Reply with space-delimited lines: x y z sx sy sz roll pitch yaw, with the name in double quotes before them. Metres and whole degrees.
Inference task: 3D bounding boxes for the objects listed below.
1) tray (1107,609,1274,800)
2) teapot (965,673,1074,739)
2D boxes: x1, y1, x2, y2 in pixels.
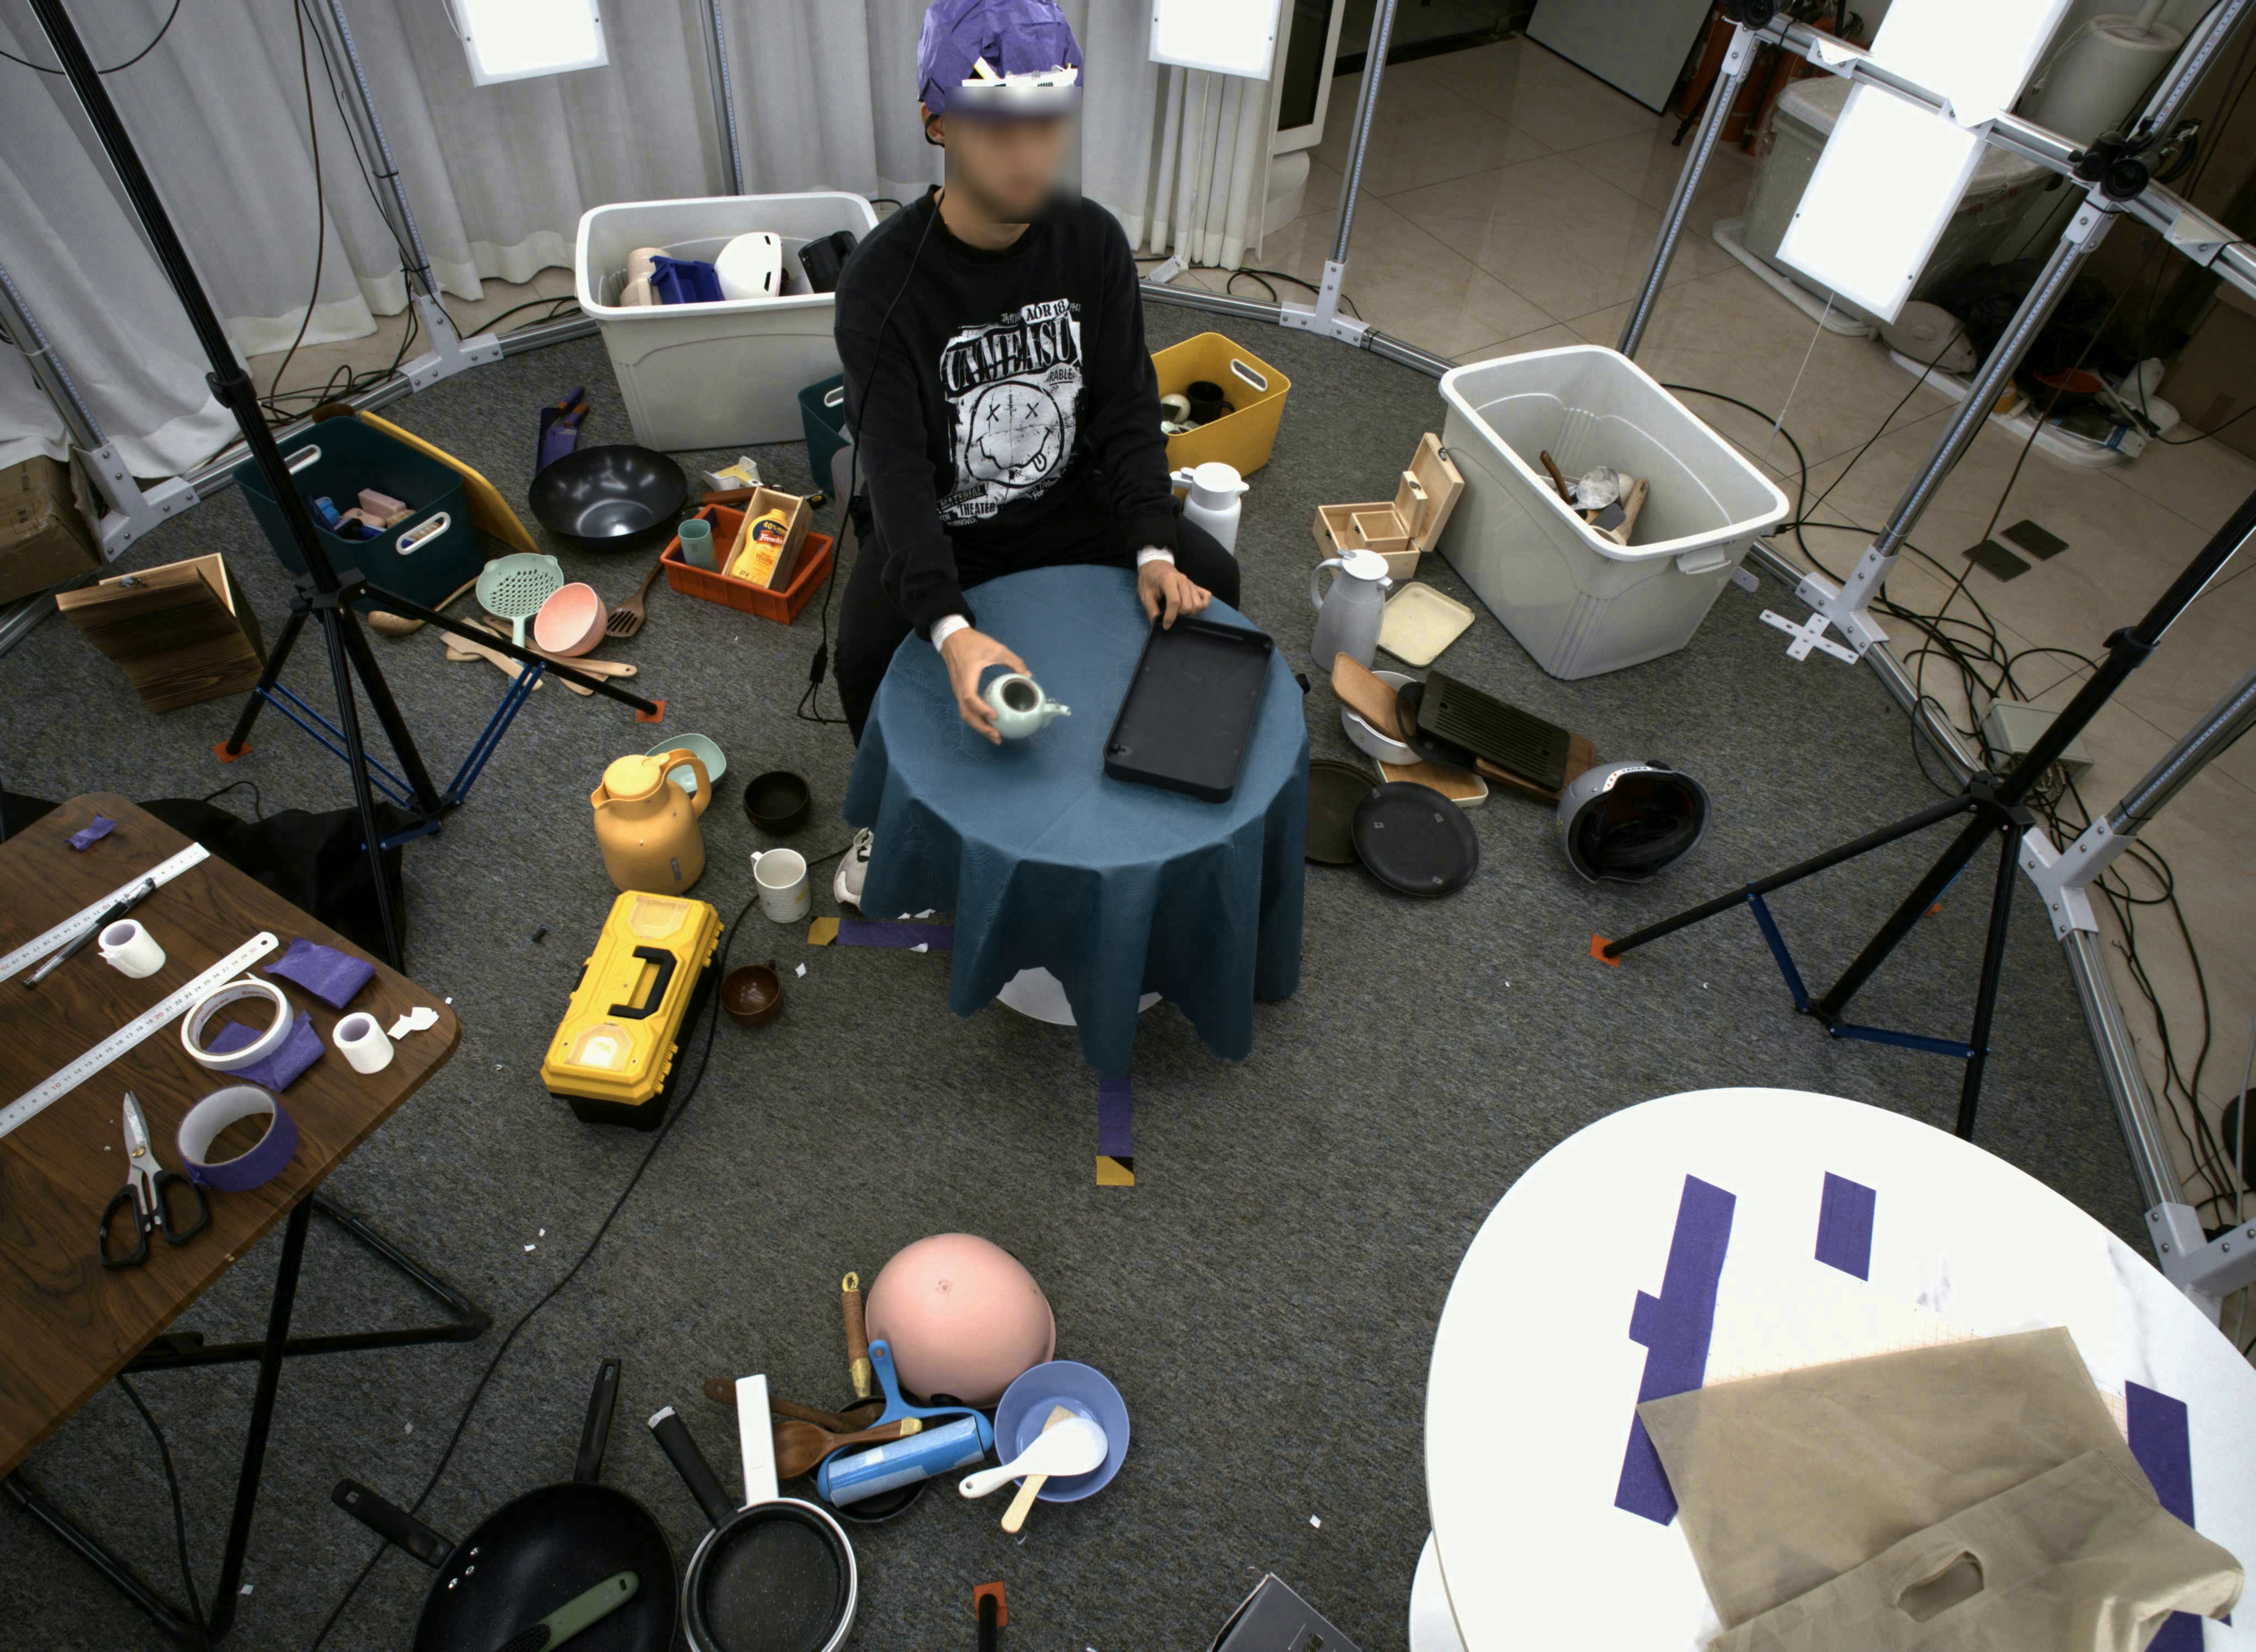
"tray" 0.092 -0.177 1.803 0.184 0.036 0.325 12 50 7
"teapot" -0.148 -0.160 1.705 0.143 0.073 0.090 20 57 -9
